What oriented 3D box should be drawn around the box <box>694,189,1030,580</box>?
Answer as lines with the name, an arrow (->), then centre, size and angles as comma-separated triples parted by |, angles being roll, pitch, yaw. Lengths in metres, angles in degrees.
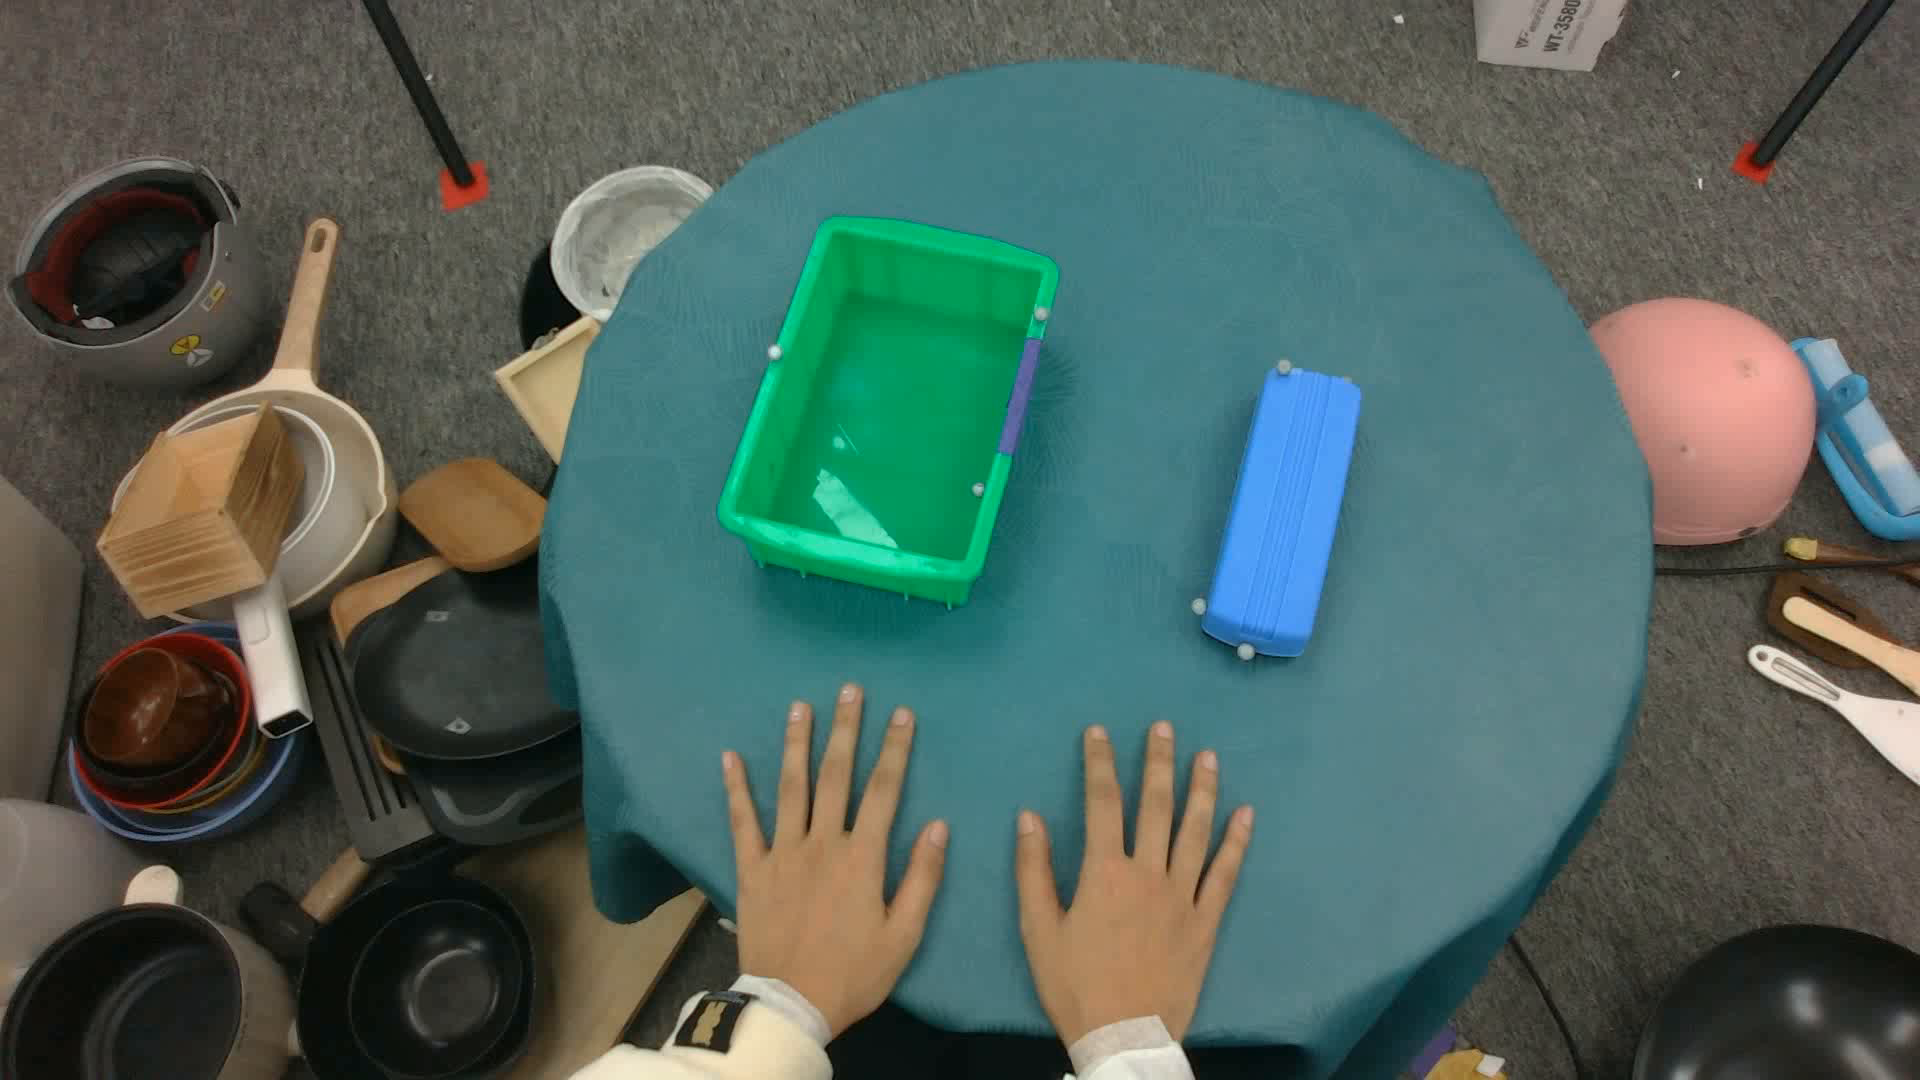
box -> -0.048, -0.082, 0.742 | 0.138, 0.065, 0.211 | 12, 65, 3

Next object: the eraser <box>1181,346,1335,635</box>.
eraser -> 0.160, -0.031, 0.728 | 0.054, 0.047, 0.163 | 15, 65, 7
